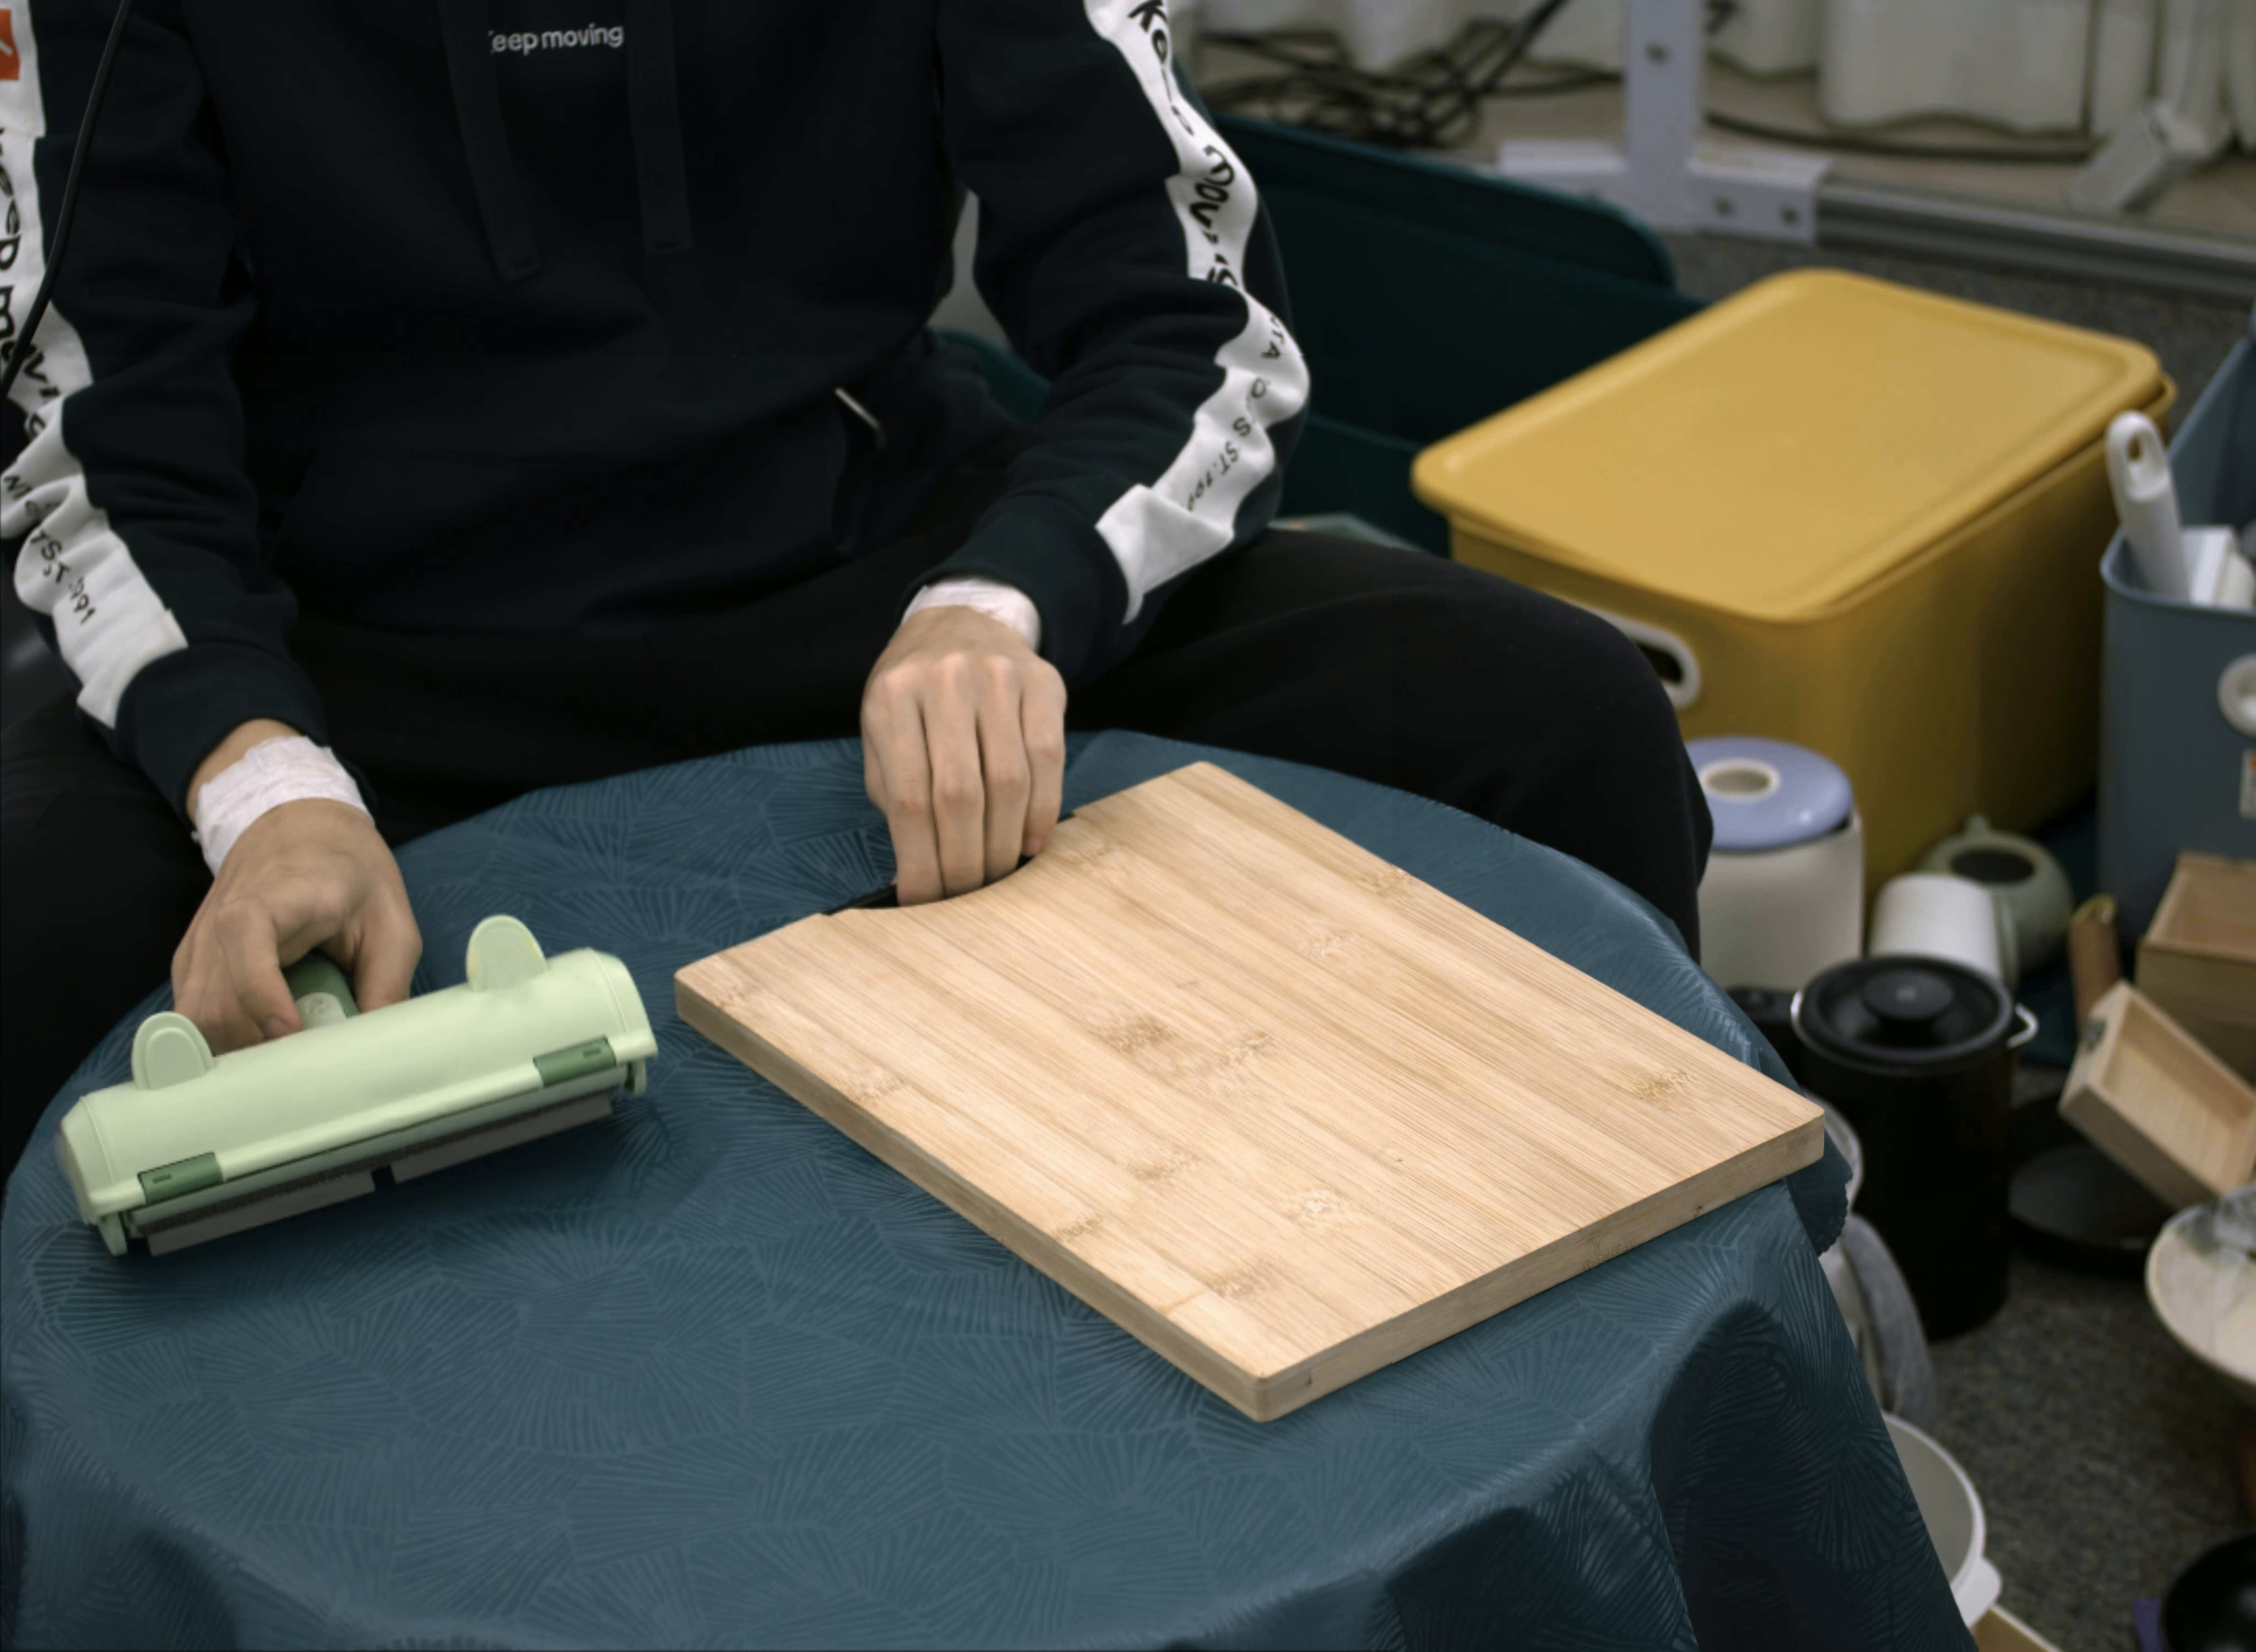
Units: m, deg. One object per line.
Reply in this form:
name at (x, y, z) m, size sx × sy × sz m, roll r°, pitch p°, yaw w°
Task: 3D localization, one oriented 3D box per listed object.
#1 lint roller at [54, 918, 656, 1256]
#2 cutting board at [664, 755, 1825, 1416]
lint roller at (-0.277, 0.061, 1.914) m, size 0.199 × 0.081 × 0.185 m, roll -16°, pitch 33°, yaw -16°
cutting board at (0.033, 0.080, 1.920) m, size 0.253 × 0.023 × 0.349 m, roll -21°, pitch 33°, yaw -32°
